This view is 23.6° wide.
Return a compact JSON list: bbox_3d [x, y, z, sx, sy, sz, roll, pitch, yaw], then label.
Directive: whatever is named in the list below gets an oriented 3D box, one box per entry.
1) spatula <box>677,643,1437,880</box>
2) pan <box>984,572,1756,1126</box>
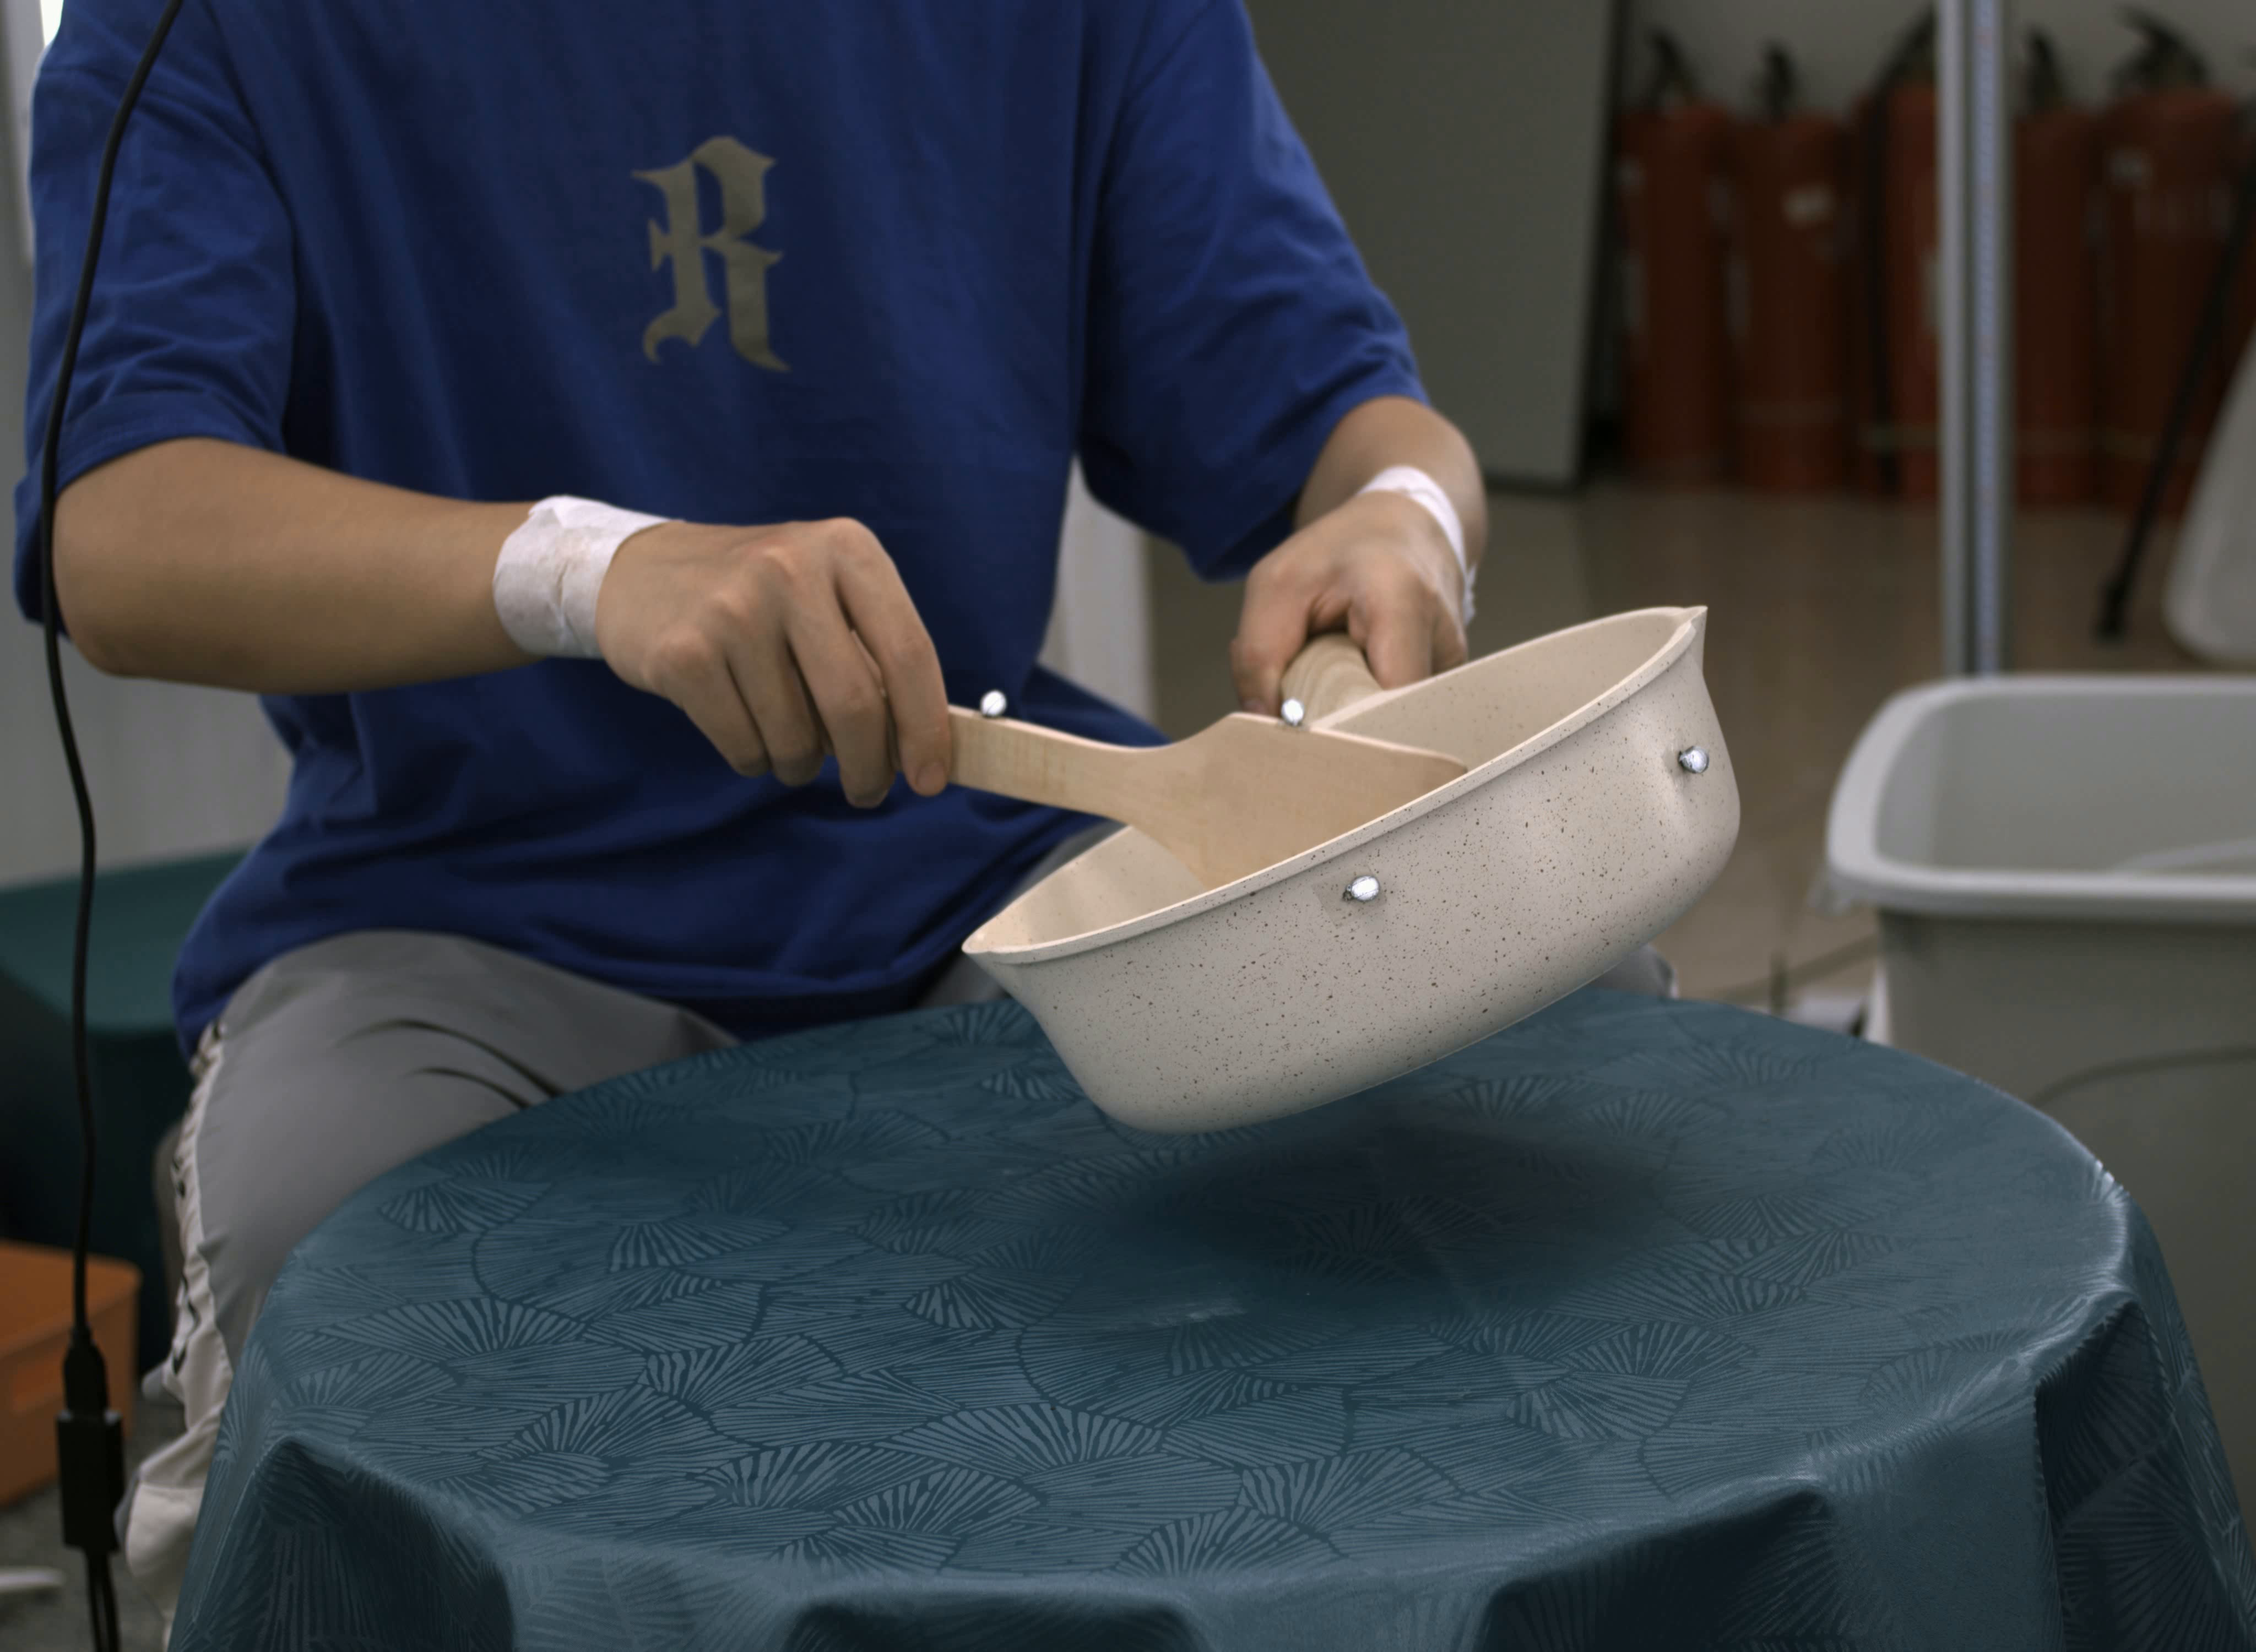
[{"bbox_3d":[-0.026,-0.022,1.792,0.294,0.073,0.010,13,25,26],"label":"spatula"},{"bbox_3d":[0.085,-0.005,1.810,0.262,0.102,0.435,-27,6,4],"label":"pan"}]
